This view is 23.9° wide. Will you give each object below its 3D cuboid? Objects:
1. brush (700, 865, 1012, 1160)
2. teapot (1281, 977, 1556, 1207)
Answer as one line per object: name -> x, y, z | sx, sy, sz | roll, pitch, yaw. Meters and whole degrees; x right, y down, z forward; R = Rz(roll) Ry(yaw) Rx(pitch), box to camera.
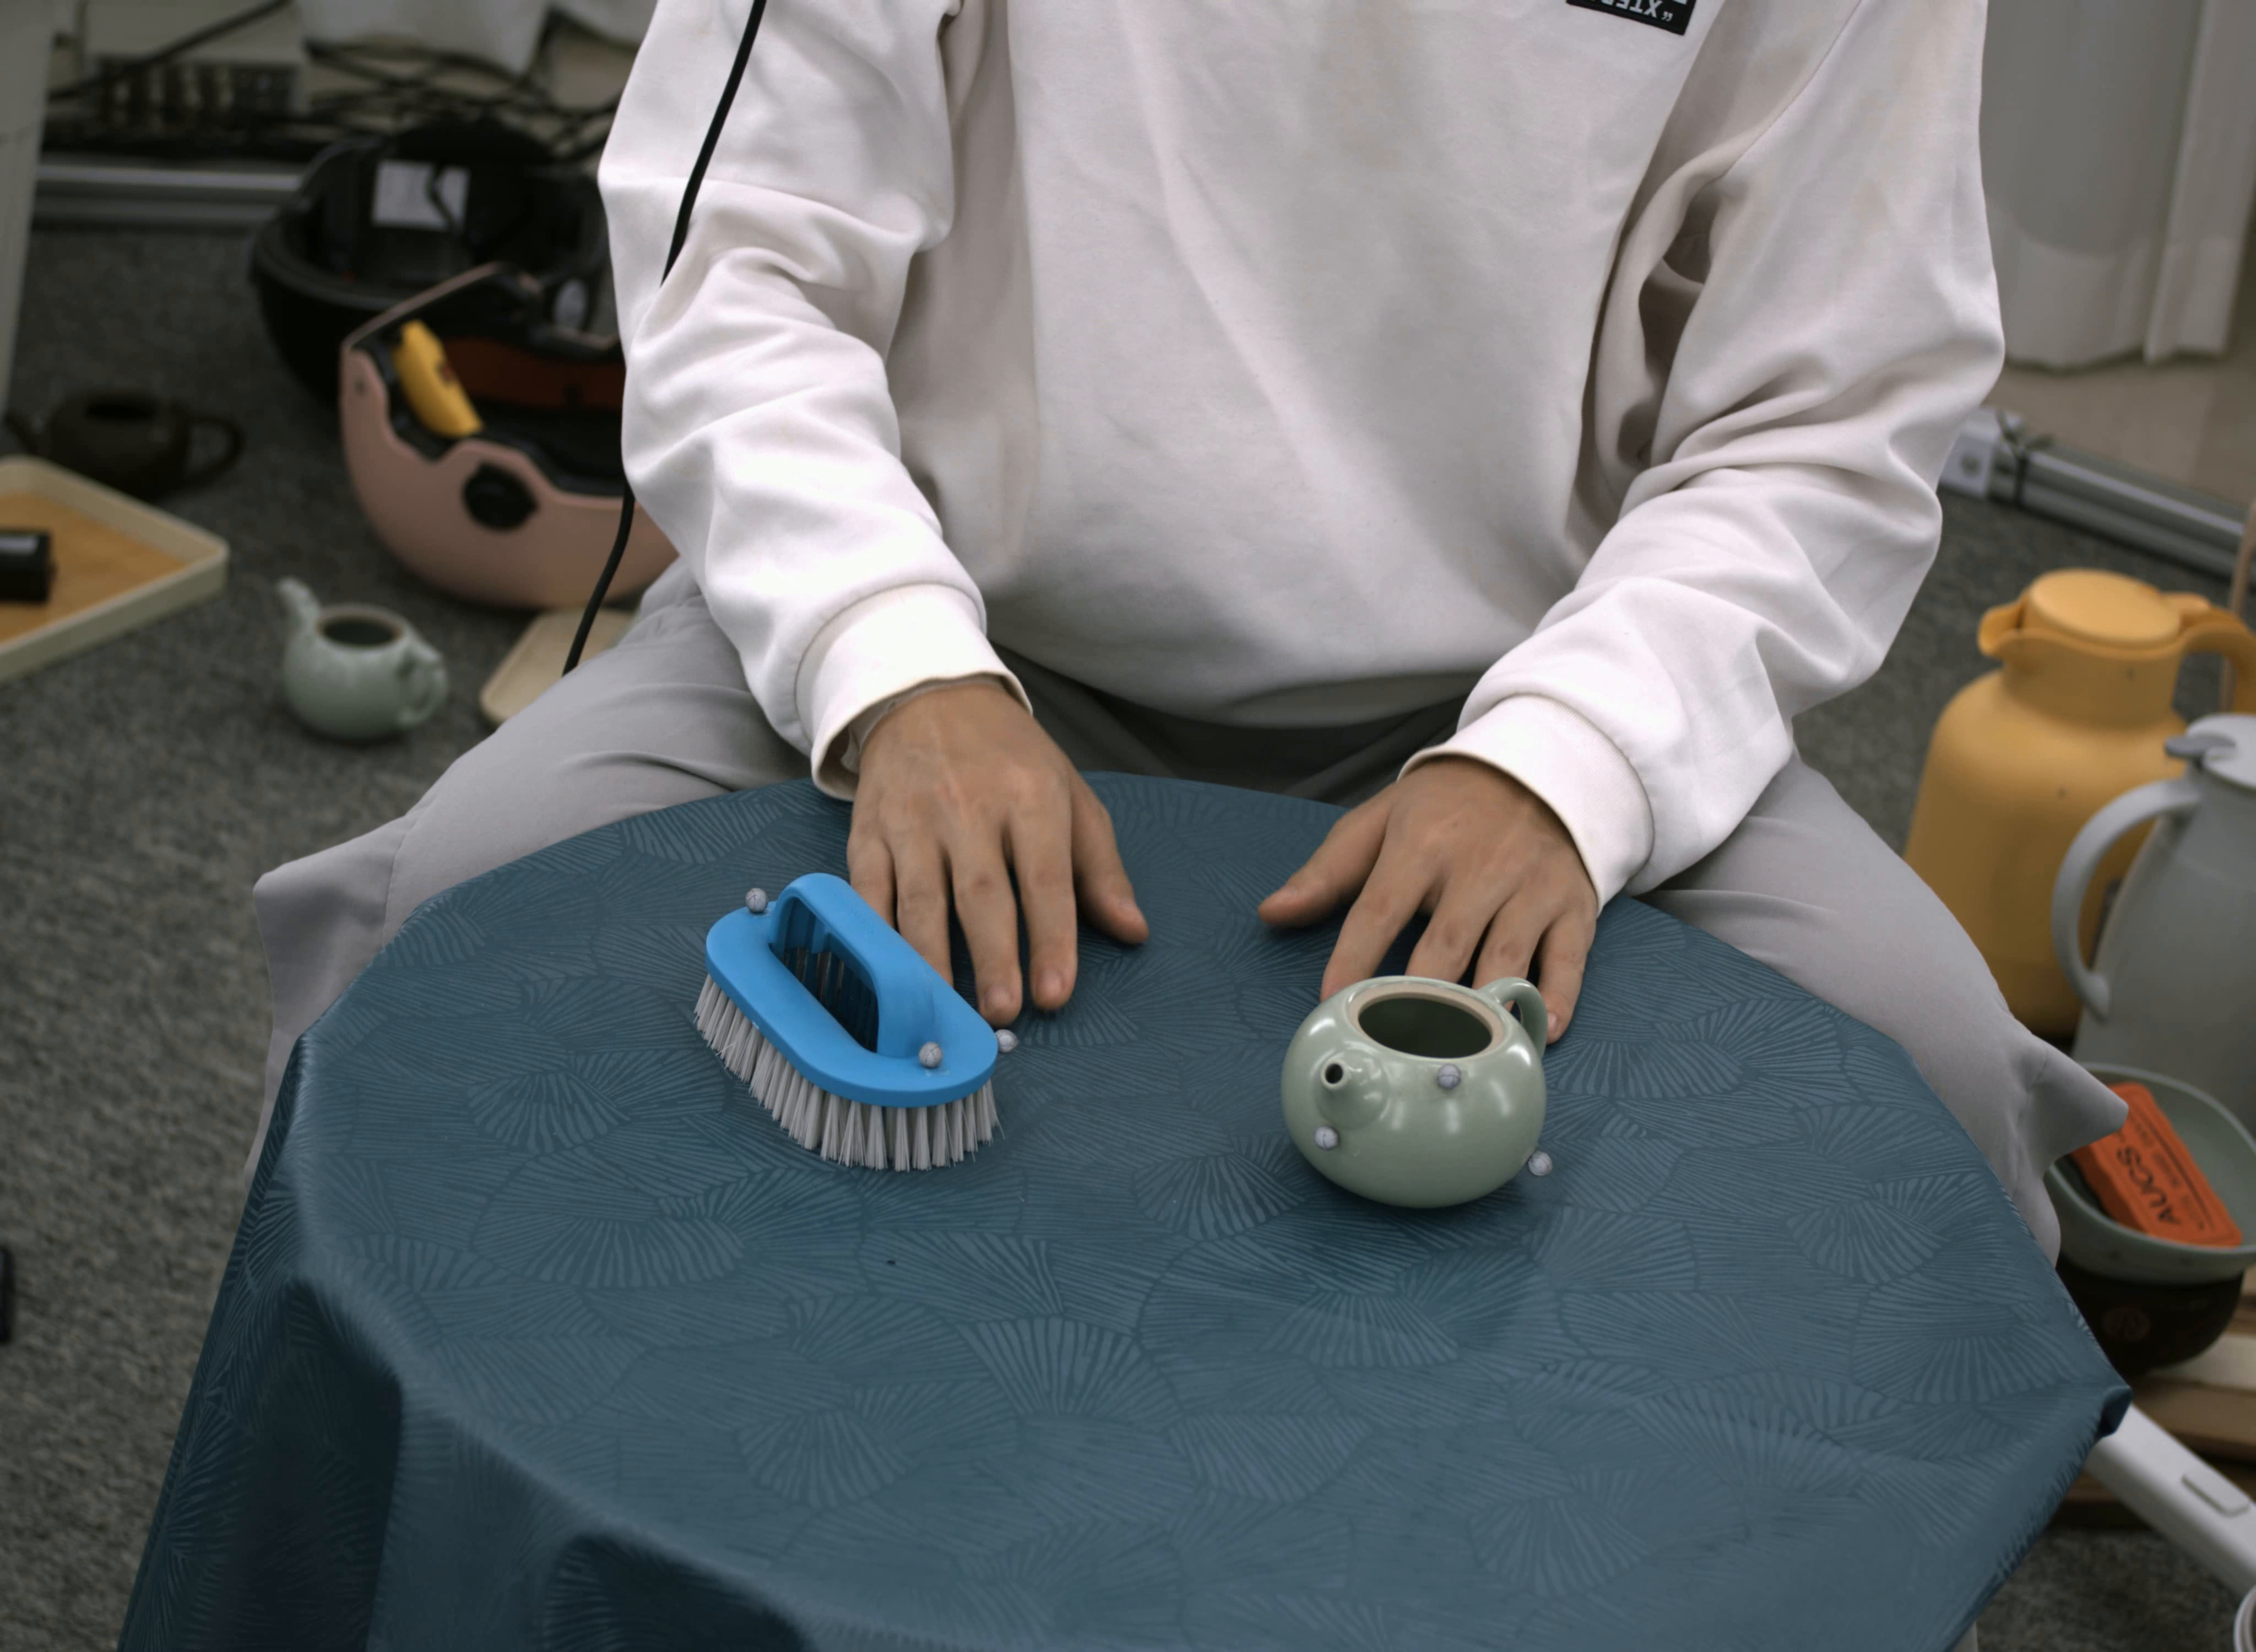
brush -> -0.096, 0.056, 1.845 | 0.084, 0.063, 0.143 | -12, 31, -25
teapot -> 0.105, 0.090, 1.833 | 0.092, 0.061, 0.128 | 25, 30, 38
